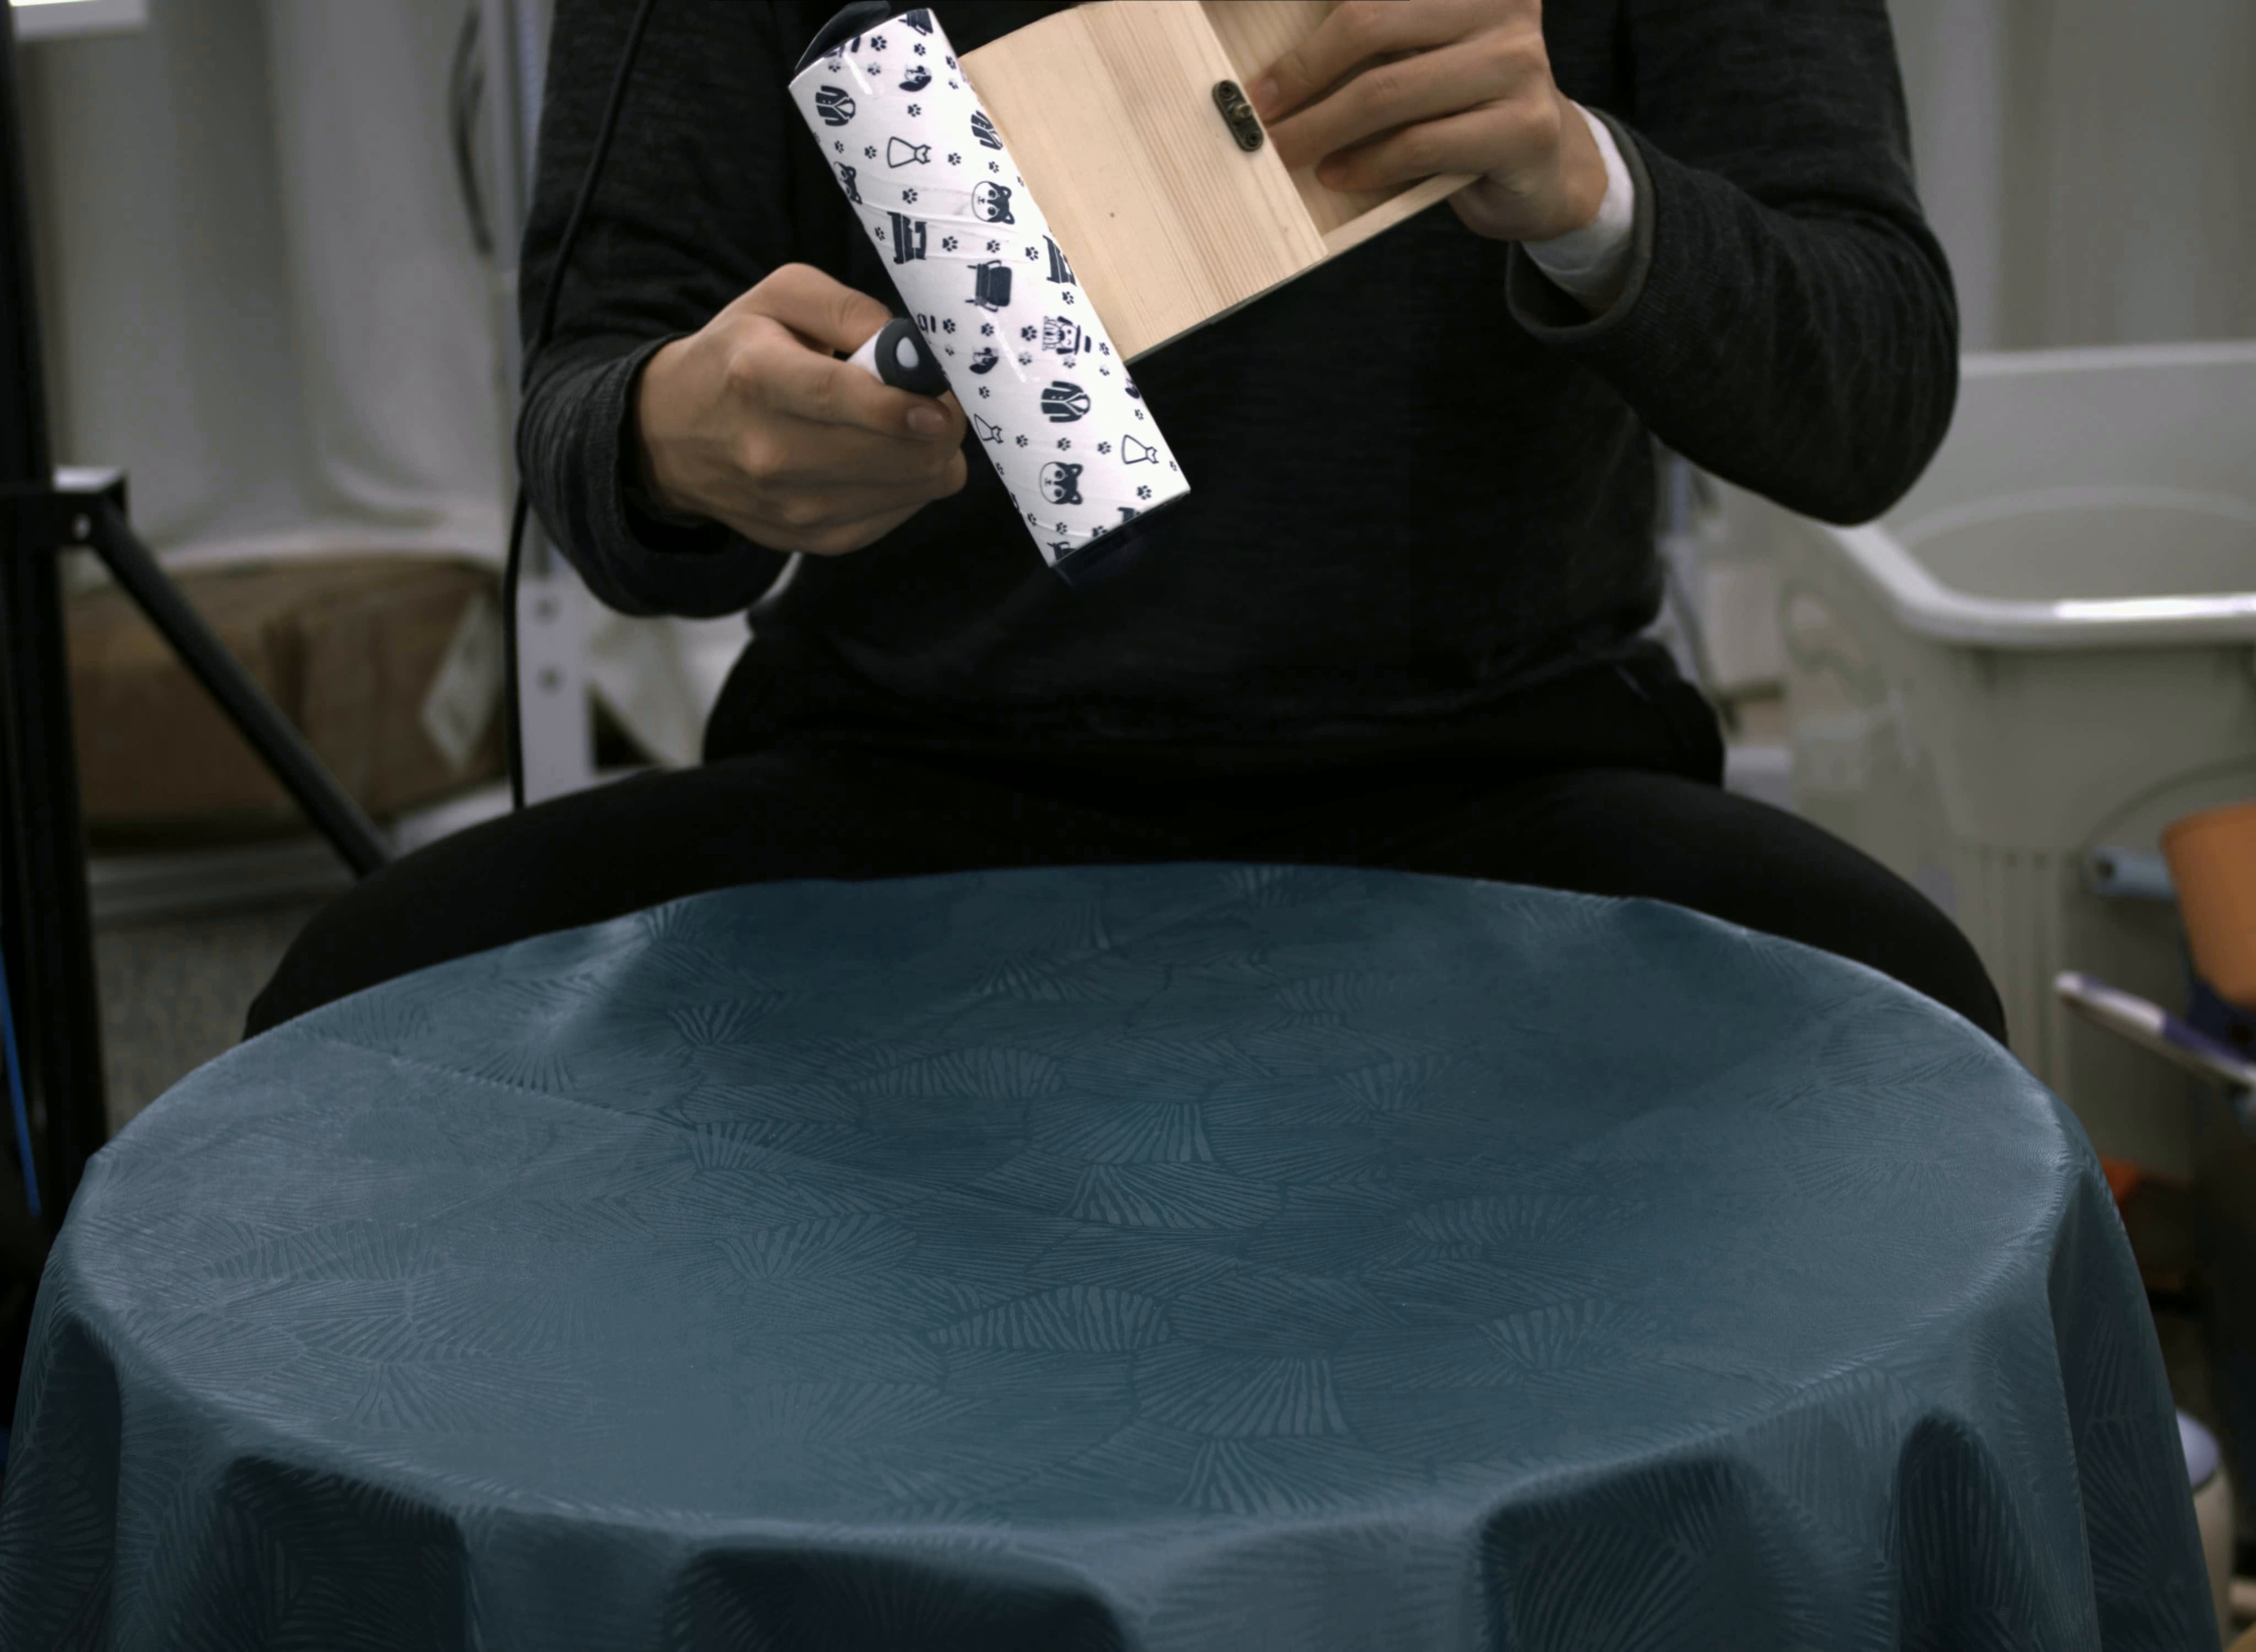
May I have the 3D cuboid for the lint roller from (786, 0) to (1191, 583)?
[{"bbox_3d":[-0.068,-0.138,1.640,0.050,0.177,0.249,-28,-2,-20],"label":"lint roller"}]

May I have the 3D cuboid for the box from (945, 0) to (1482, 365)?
[{"bbox_3d":[0.030,-0.213,1.635,0.182,0.103,0.135,-27,3,-18],"label":"box"}]
